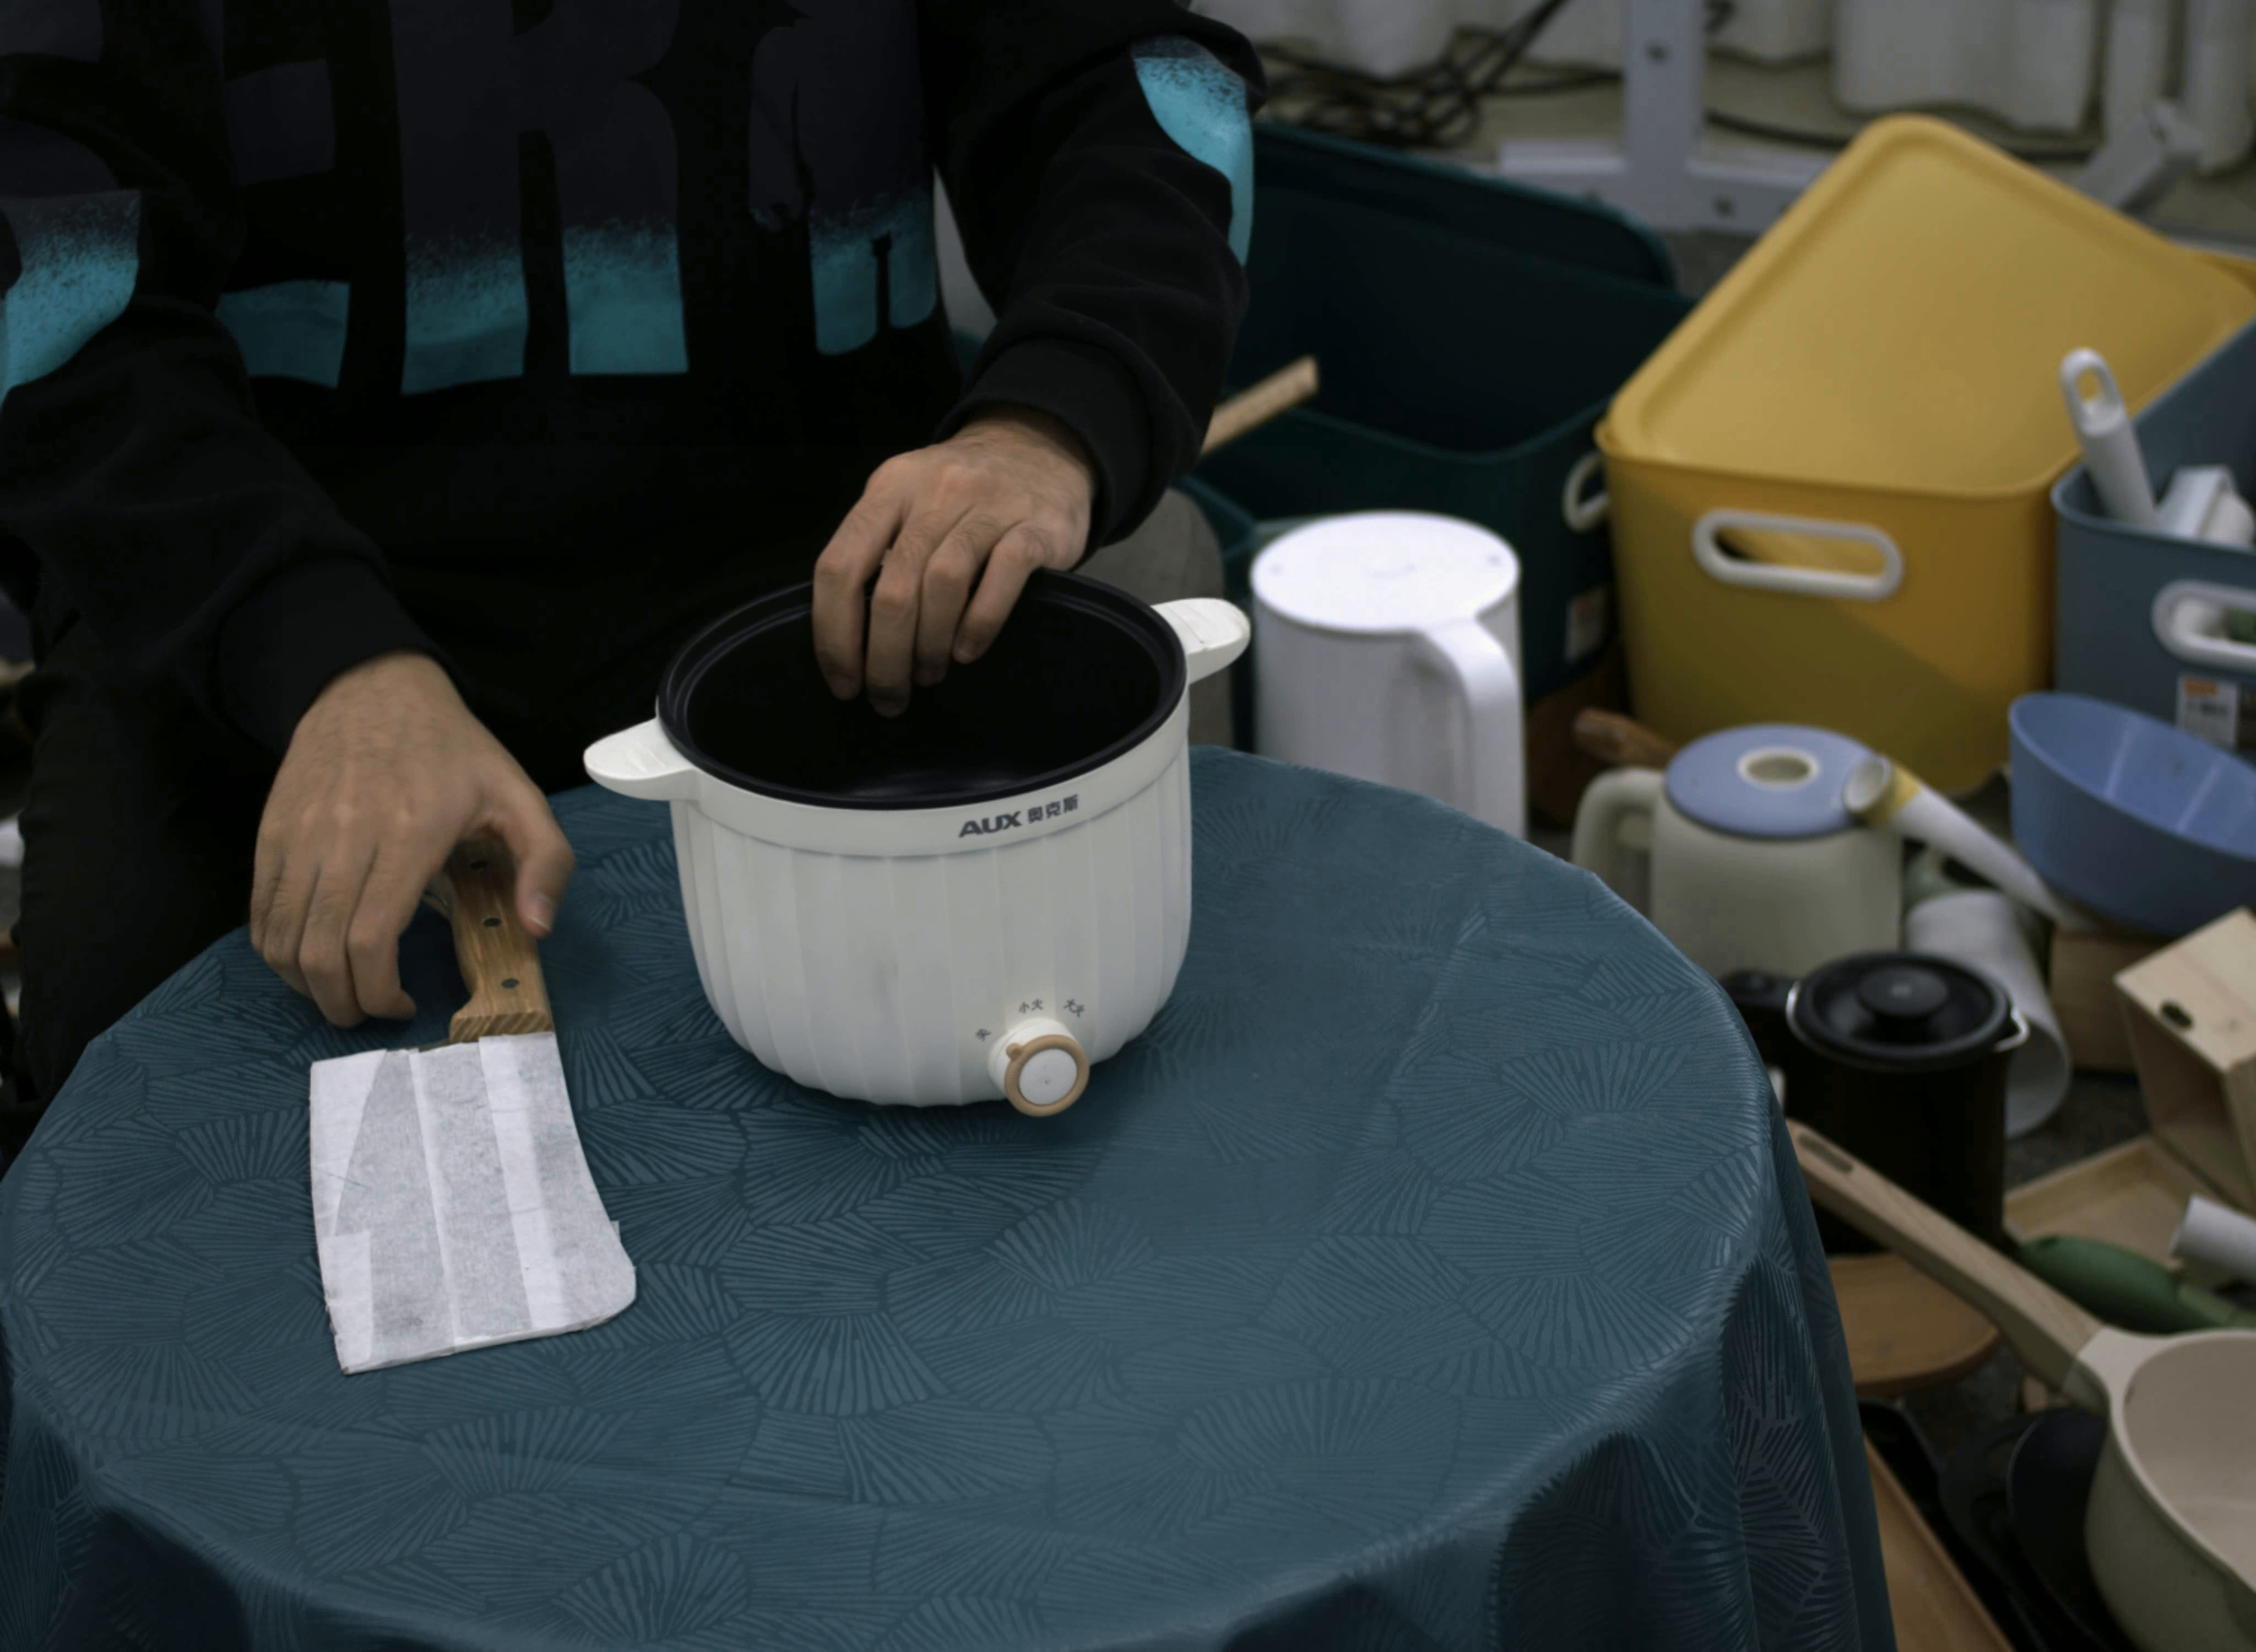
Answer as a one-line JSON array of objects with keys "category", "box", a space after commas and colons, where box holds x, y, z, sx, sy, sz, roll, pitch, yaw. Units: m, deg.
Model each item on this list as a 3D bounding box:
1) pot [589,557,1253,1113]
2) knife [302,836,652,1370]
[{"category": "pot", "box": [-0.062, 0.009, 1.936, 0.241, 0.141, 0.191, -14, 26, -18]}, {"category": "knife", "box": [-0.226, 0.091, 1.923, 0.113, 0.021, 0.320, -6, 30, -5]}]
